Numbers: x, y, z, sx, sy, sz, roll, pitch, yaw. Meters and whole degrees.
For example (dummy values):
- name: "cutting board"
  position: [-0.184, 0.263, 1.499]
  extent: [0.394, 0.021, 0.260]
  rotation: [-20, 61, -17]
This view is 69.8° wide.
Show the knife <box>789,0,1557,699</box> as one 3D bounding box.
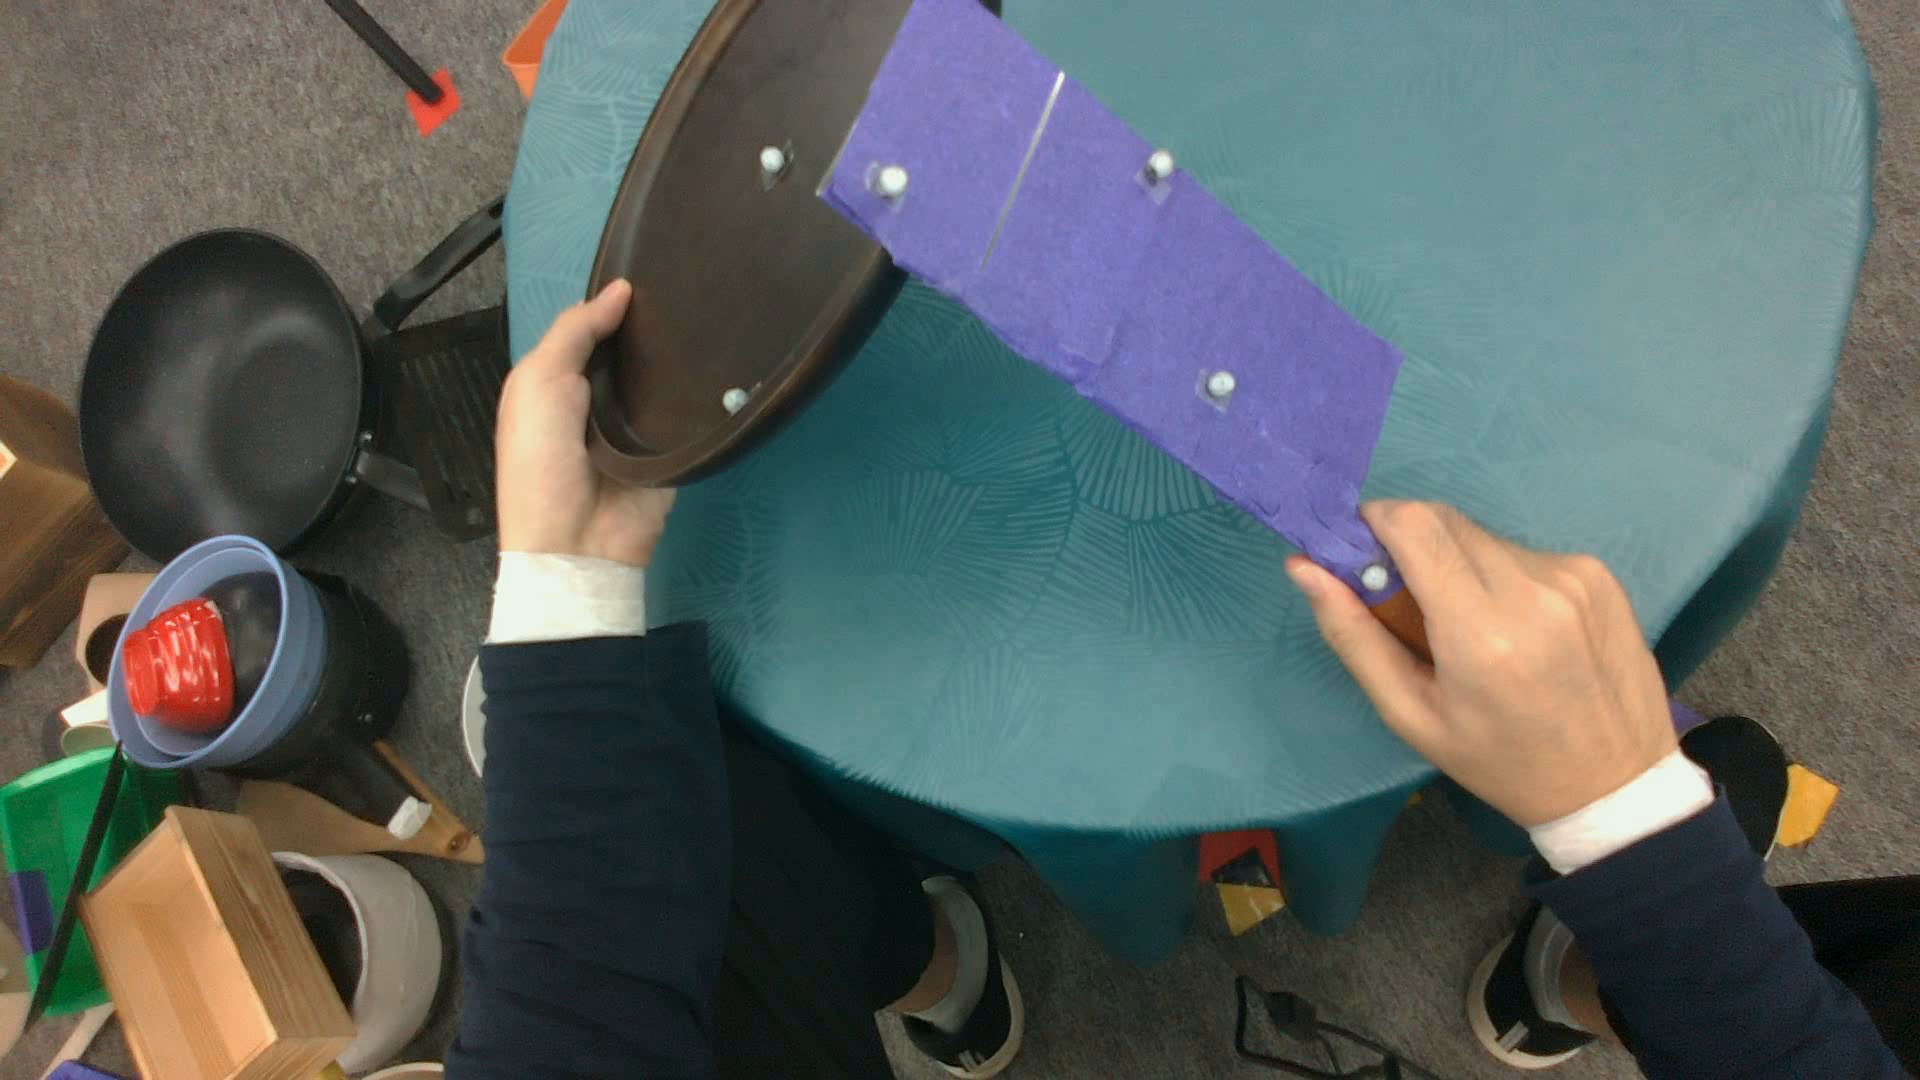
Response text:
- name: "knife"
  position: [0.093, -0.056, 0.446]
  extent: [0.315, 0.032, 0.104]
  rotation: [33, 65, -24]

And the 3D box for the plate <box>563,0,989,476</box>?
- name: "plate"
  position: [-0.077, -0.140, 0.514]
  extent: [0.253, 0.029, 0.256]
  rotation: [-28, 49, 38]
